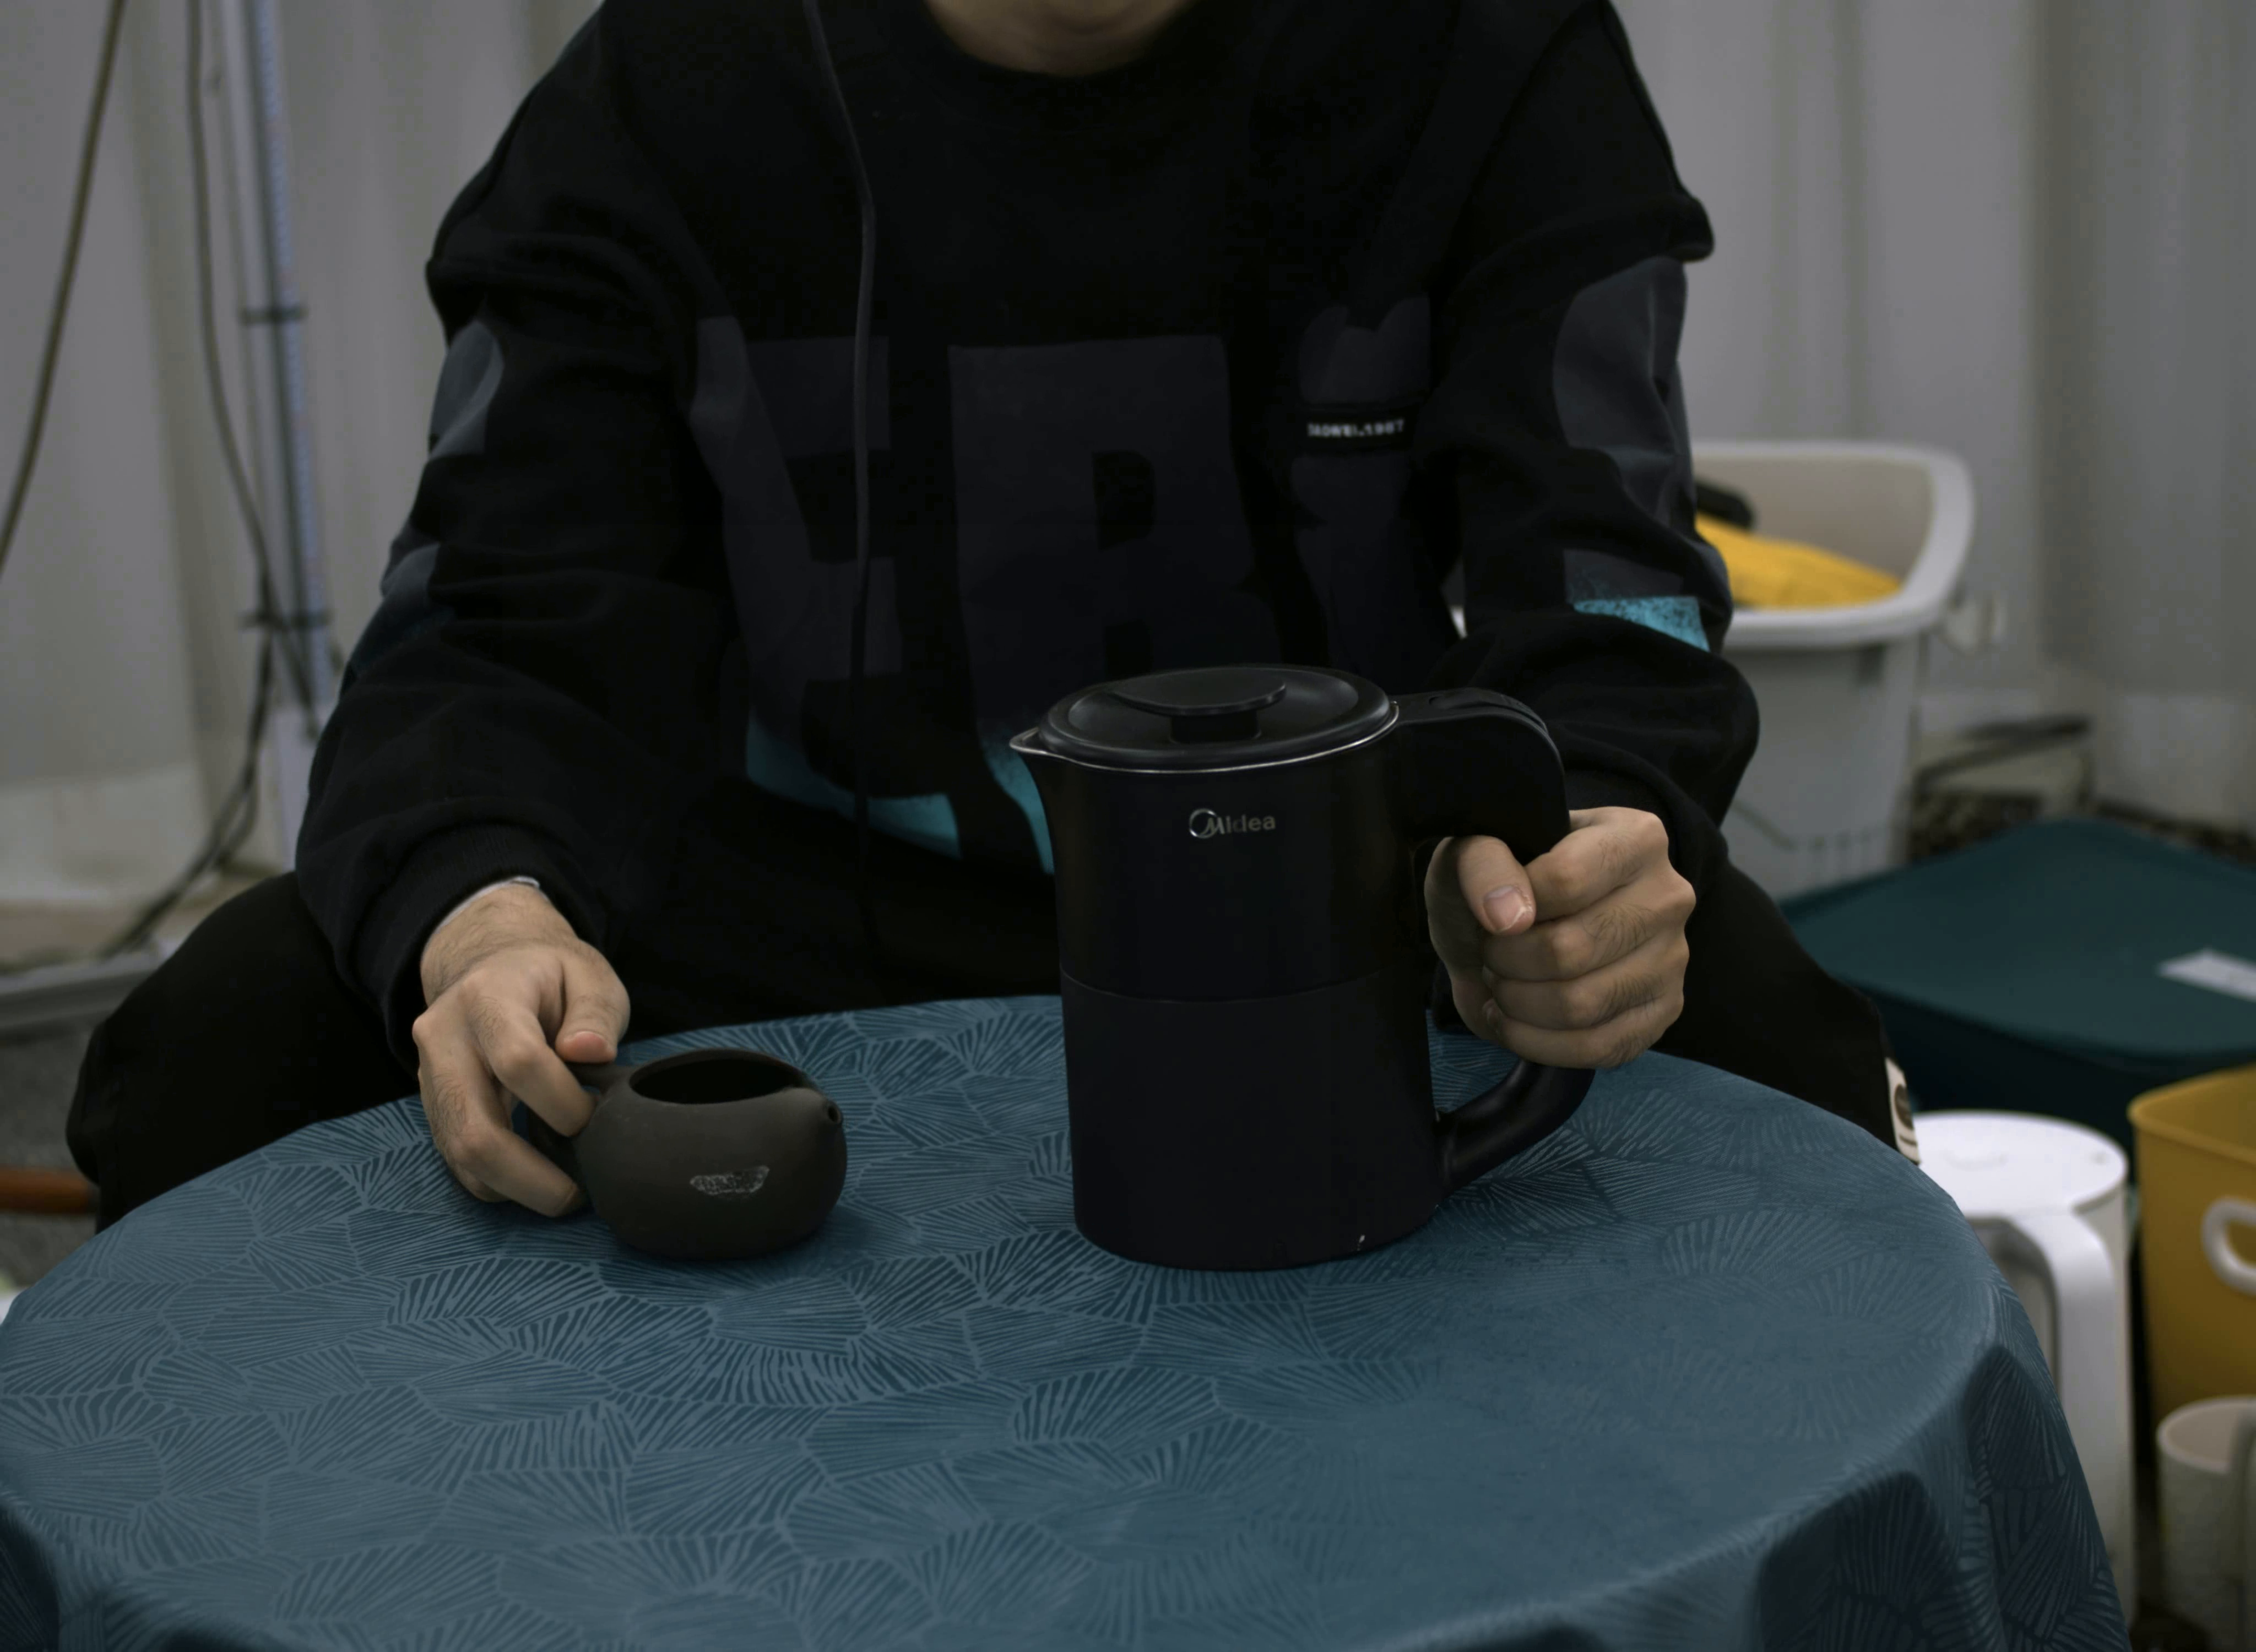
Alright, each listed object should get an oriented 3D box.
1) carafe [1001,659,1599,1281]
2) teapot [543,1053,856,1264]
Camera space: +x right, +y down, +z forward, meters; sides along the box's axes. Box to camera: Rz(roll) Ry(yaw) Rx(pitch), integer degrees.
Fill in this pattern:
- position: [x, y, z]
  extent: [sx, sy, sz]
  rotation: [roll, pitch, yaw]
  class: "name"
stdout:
- position: [0.055, 0.035, 1.669]
  extent: [0.171, 0.173, 0.115]
  rotation: [-8, 13, -5]
  class: "carafe"
- position: [-0.135, 0.100, 1.695]
  extent: [0.114, 0.053, 0.083]
  rotation: [13, 21, 31]
  class: "teapot"
